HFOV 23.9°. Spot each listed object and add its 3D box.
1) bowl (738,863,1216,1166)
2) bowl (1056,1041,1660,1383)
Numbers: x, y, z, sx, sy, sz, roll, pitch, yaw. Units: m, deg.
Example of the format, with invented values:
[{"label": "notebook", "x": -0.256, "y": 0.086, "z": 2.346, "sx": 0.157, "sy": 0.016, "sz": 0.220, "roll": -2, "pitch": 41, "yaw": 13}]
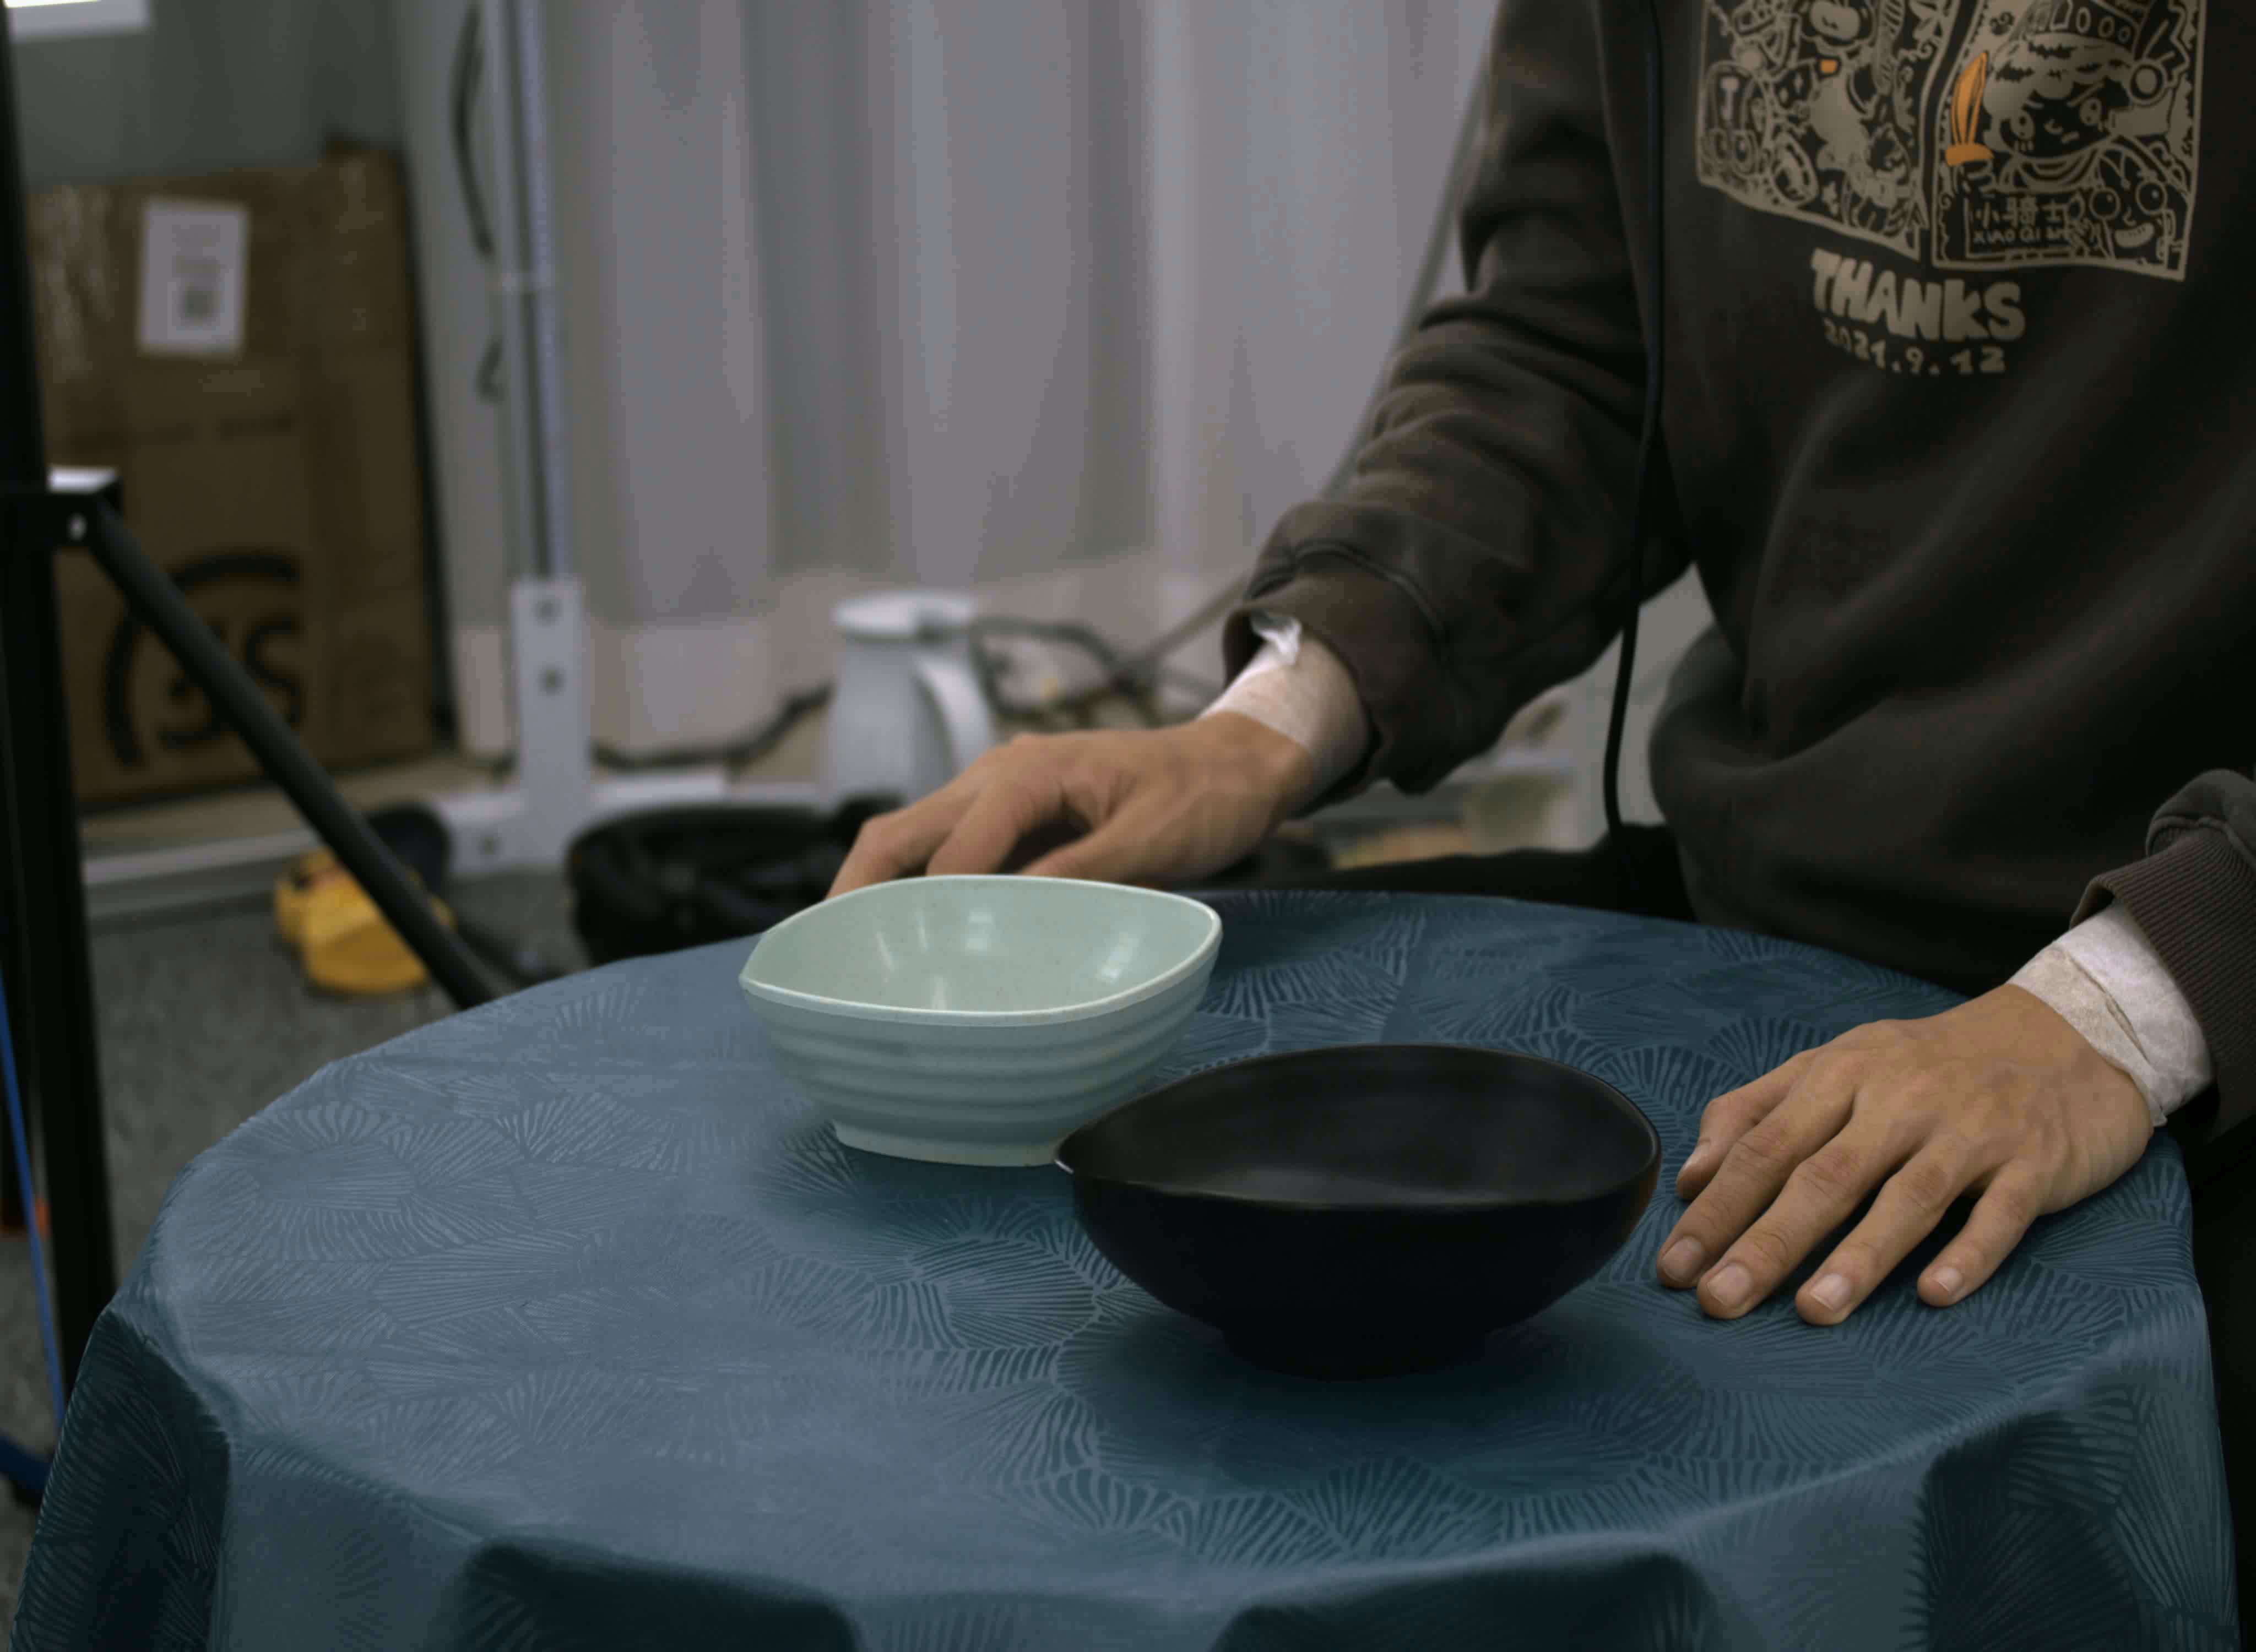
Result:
[{"label": "bowl", "x": -0.044, "y": 0.061, "z": 1.627, "sx": 0.151, "sy": 0.058, "sz": 0.152, "roll": -5, "pitch": 18, "yaw": 0}, {"label": "bowl", "x": 0.061, "y": 0.109, "z": 1.432, "sx": 0.173, "sy": 0.067, "sz": 0.135, "roll": 3, "pitch": 16, "yaw": 24}]
